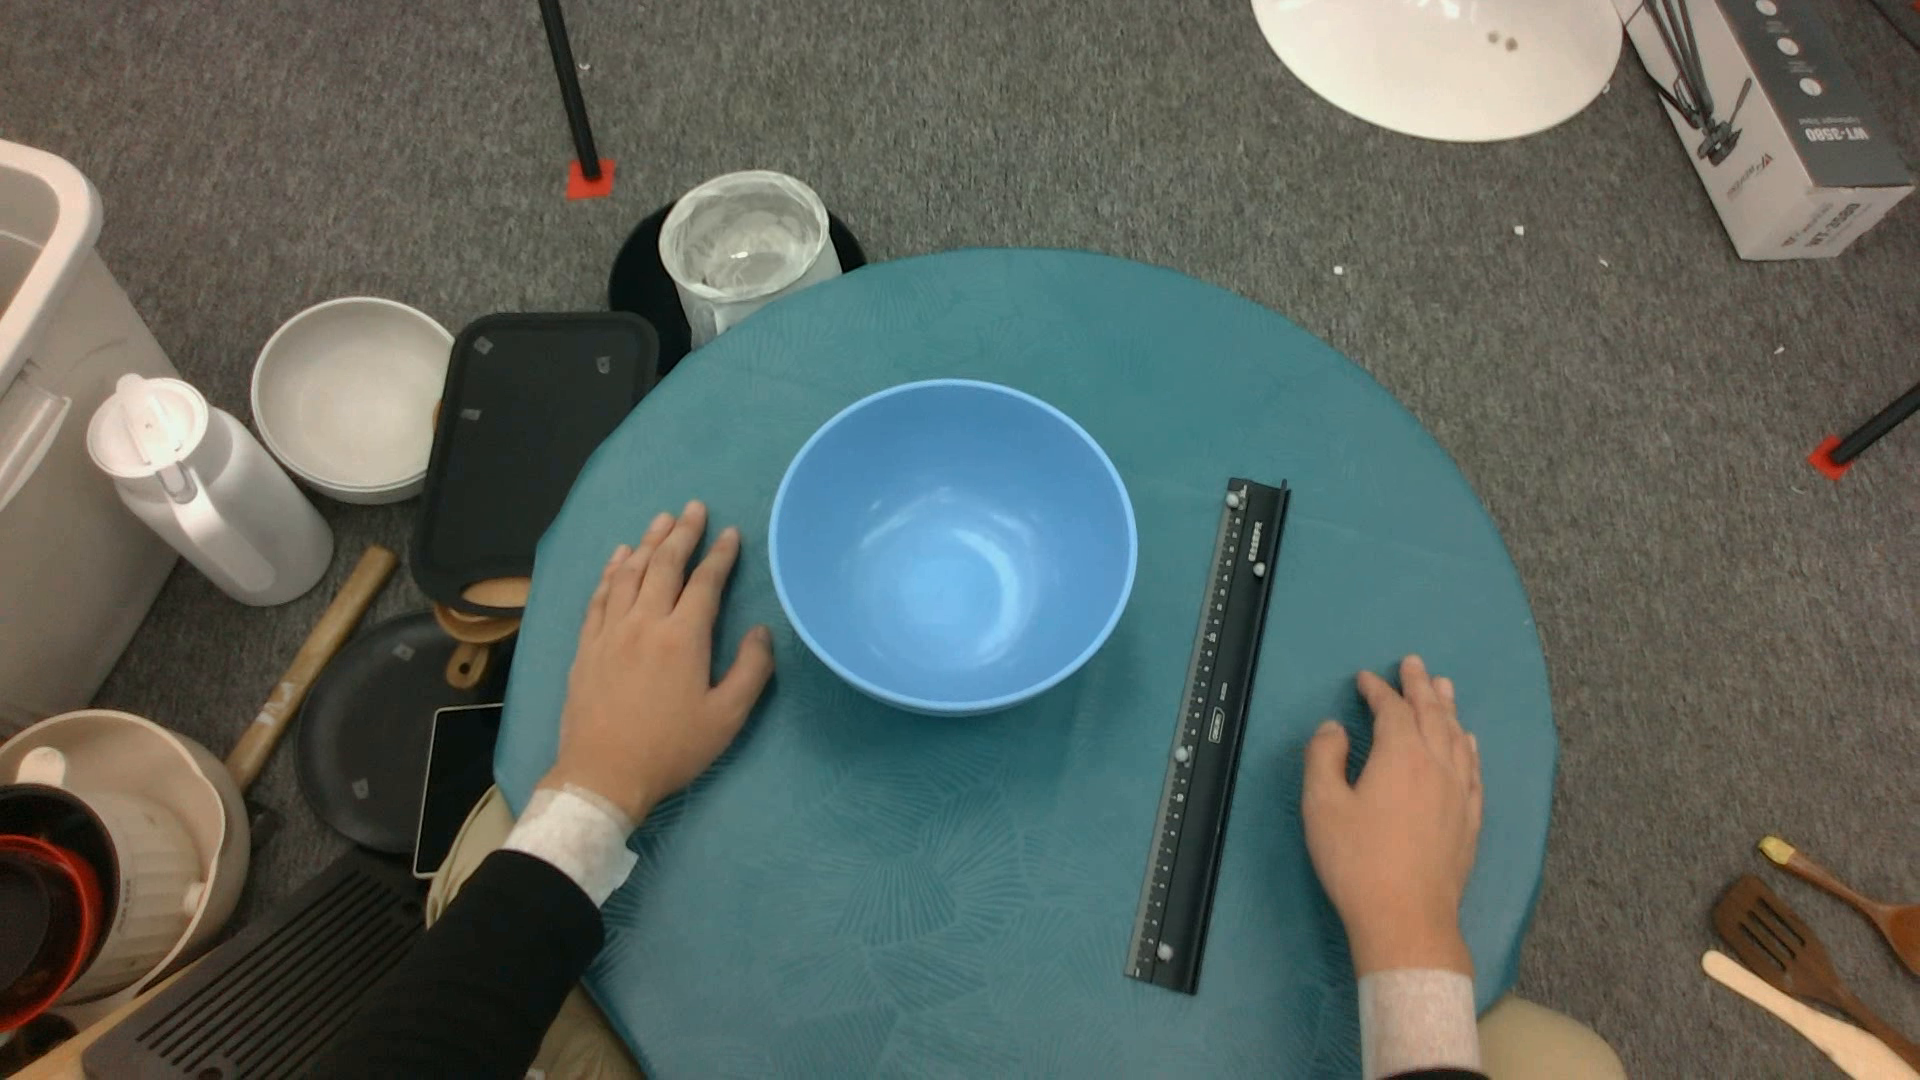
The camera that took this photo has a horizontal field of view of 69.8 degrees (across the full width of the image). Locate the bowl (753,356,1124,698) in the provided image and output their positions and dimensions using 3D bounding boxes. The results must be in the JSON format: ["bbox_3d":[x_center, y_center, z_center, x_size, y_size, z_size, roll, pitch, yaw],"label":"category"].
[{"bbox_3d":[-0.013,0.005,0.768,0.196,0.095,0.197,1,64,-3],"label":"bowl"}]

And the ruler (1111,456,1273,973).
[{"bbox_3d":[0.137,0.084,0.783,0.039,0.017,0.314,13,65,7],"label":"ruler"}]
